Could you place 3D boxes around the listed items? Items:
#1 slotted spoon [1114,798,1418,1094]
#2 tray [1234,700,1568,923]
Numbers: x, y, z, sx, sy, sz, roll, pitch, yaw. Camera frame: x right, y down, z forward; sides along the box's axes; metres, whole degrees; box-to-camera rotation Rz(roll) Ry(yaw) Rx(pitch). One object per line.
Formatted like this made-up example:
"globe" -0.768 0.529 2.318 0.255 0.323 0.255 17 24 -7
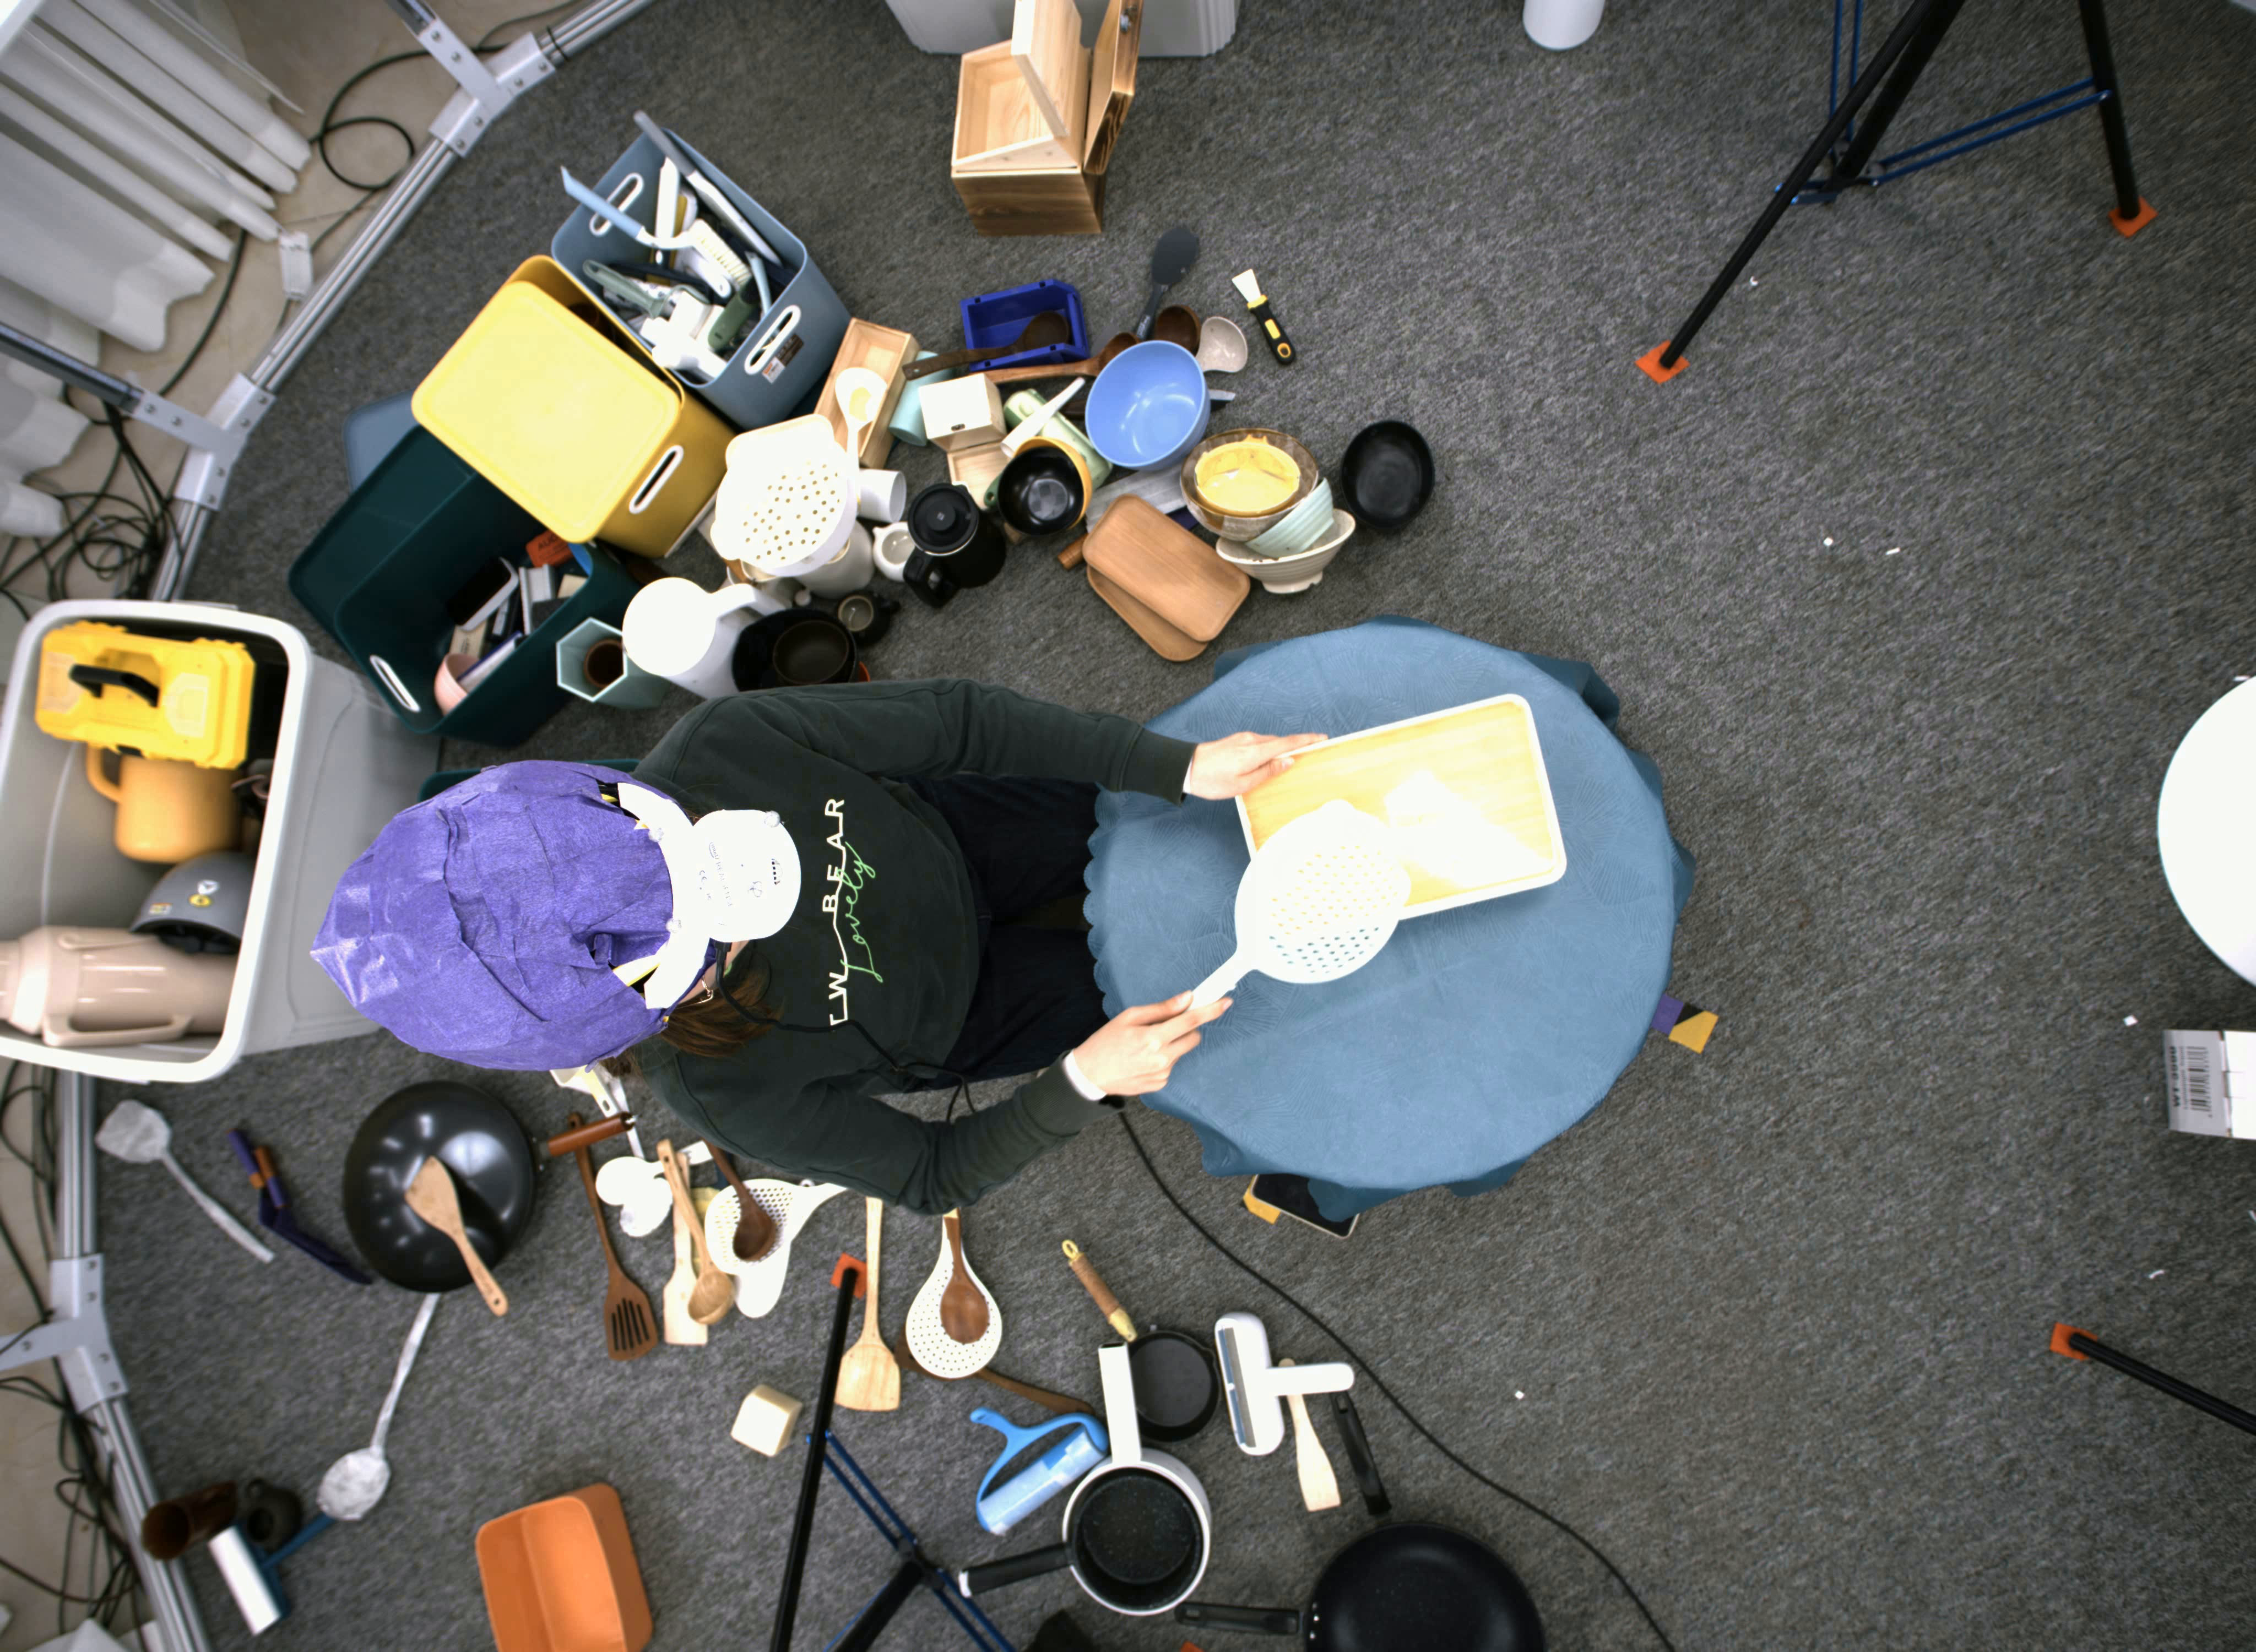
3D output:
"slotted spoon" 0.114 0.128 1.283 0.361 0.076 0.166 -38 47 8
"tray" 0.271 -0.003 1.378 0.302 0.027 0.192 -14 98 11
